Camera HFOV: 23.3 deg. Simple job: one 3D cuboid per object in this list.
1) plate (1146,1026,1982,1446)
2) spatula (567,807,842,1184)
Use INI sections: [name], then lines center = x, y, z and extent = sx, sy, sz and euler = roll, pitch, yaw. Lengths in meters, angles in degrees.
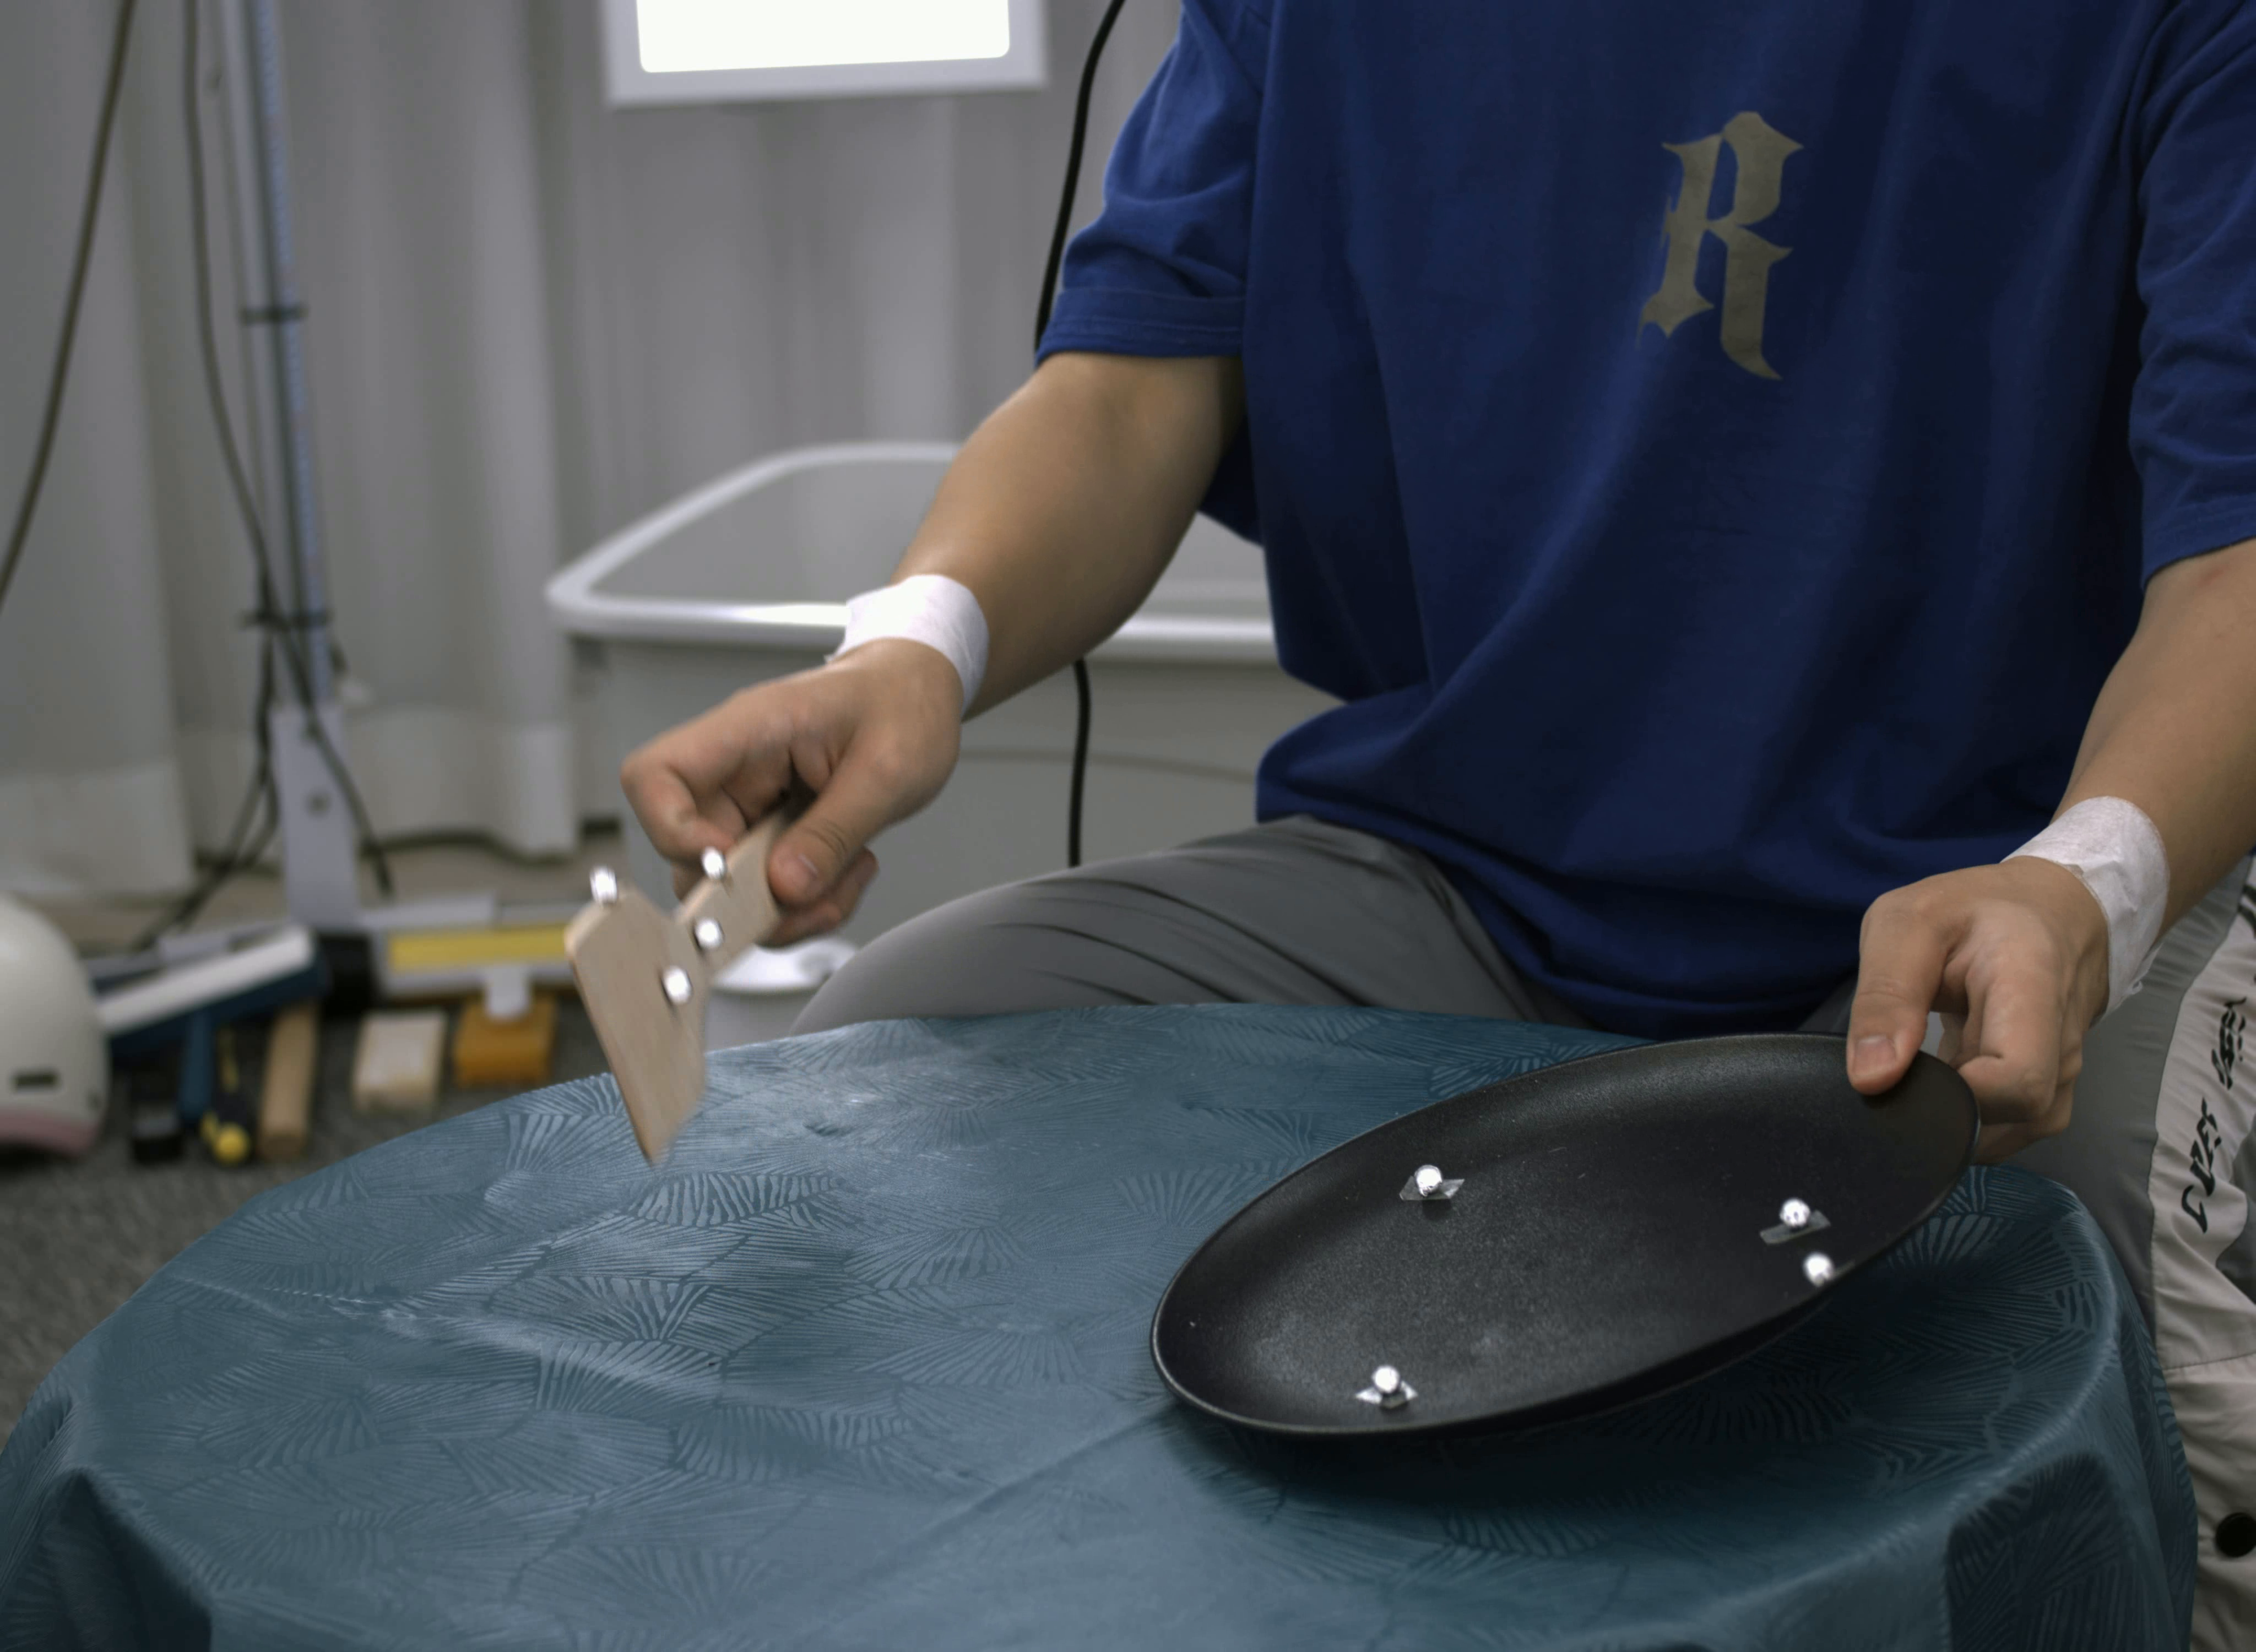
[plate]
center = 0.124, 0.119, 1.536
extent = 0.244, 0.023, 0.246
euler = -17, 17, 5
[spatula]
center = -0.127, 0.038, 1.718
extent = 0.010, 0.072, 0.294
euler = -23, 9, 14
